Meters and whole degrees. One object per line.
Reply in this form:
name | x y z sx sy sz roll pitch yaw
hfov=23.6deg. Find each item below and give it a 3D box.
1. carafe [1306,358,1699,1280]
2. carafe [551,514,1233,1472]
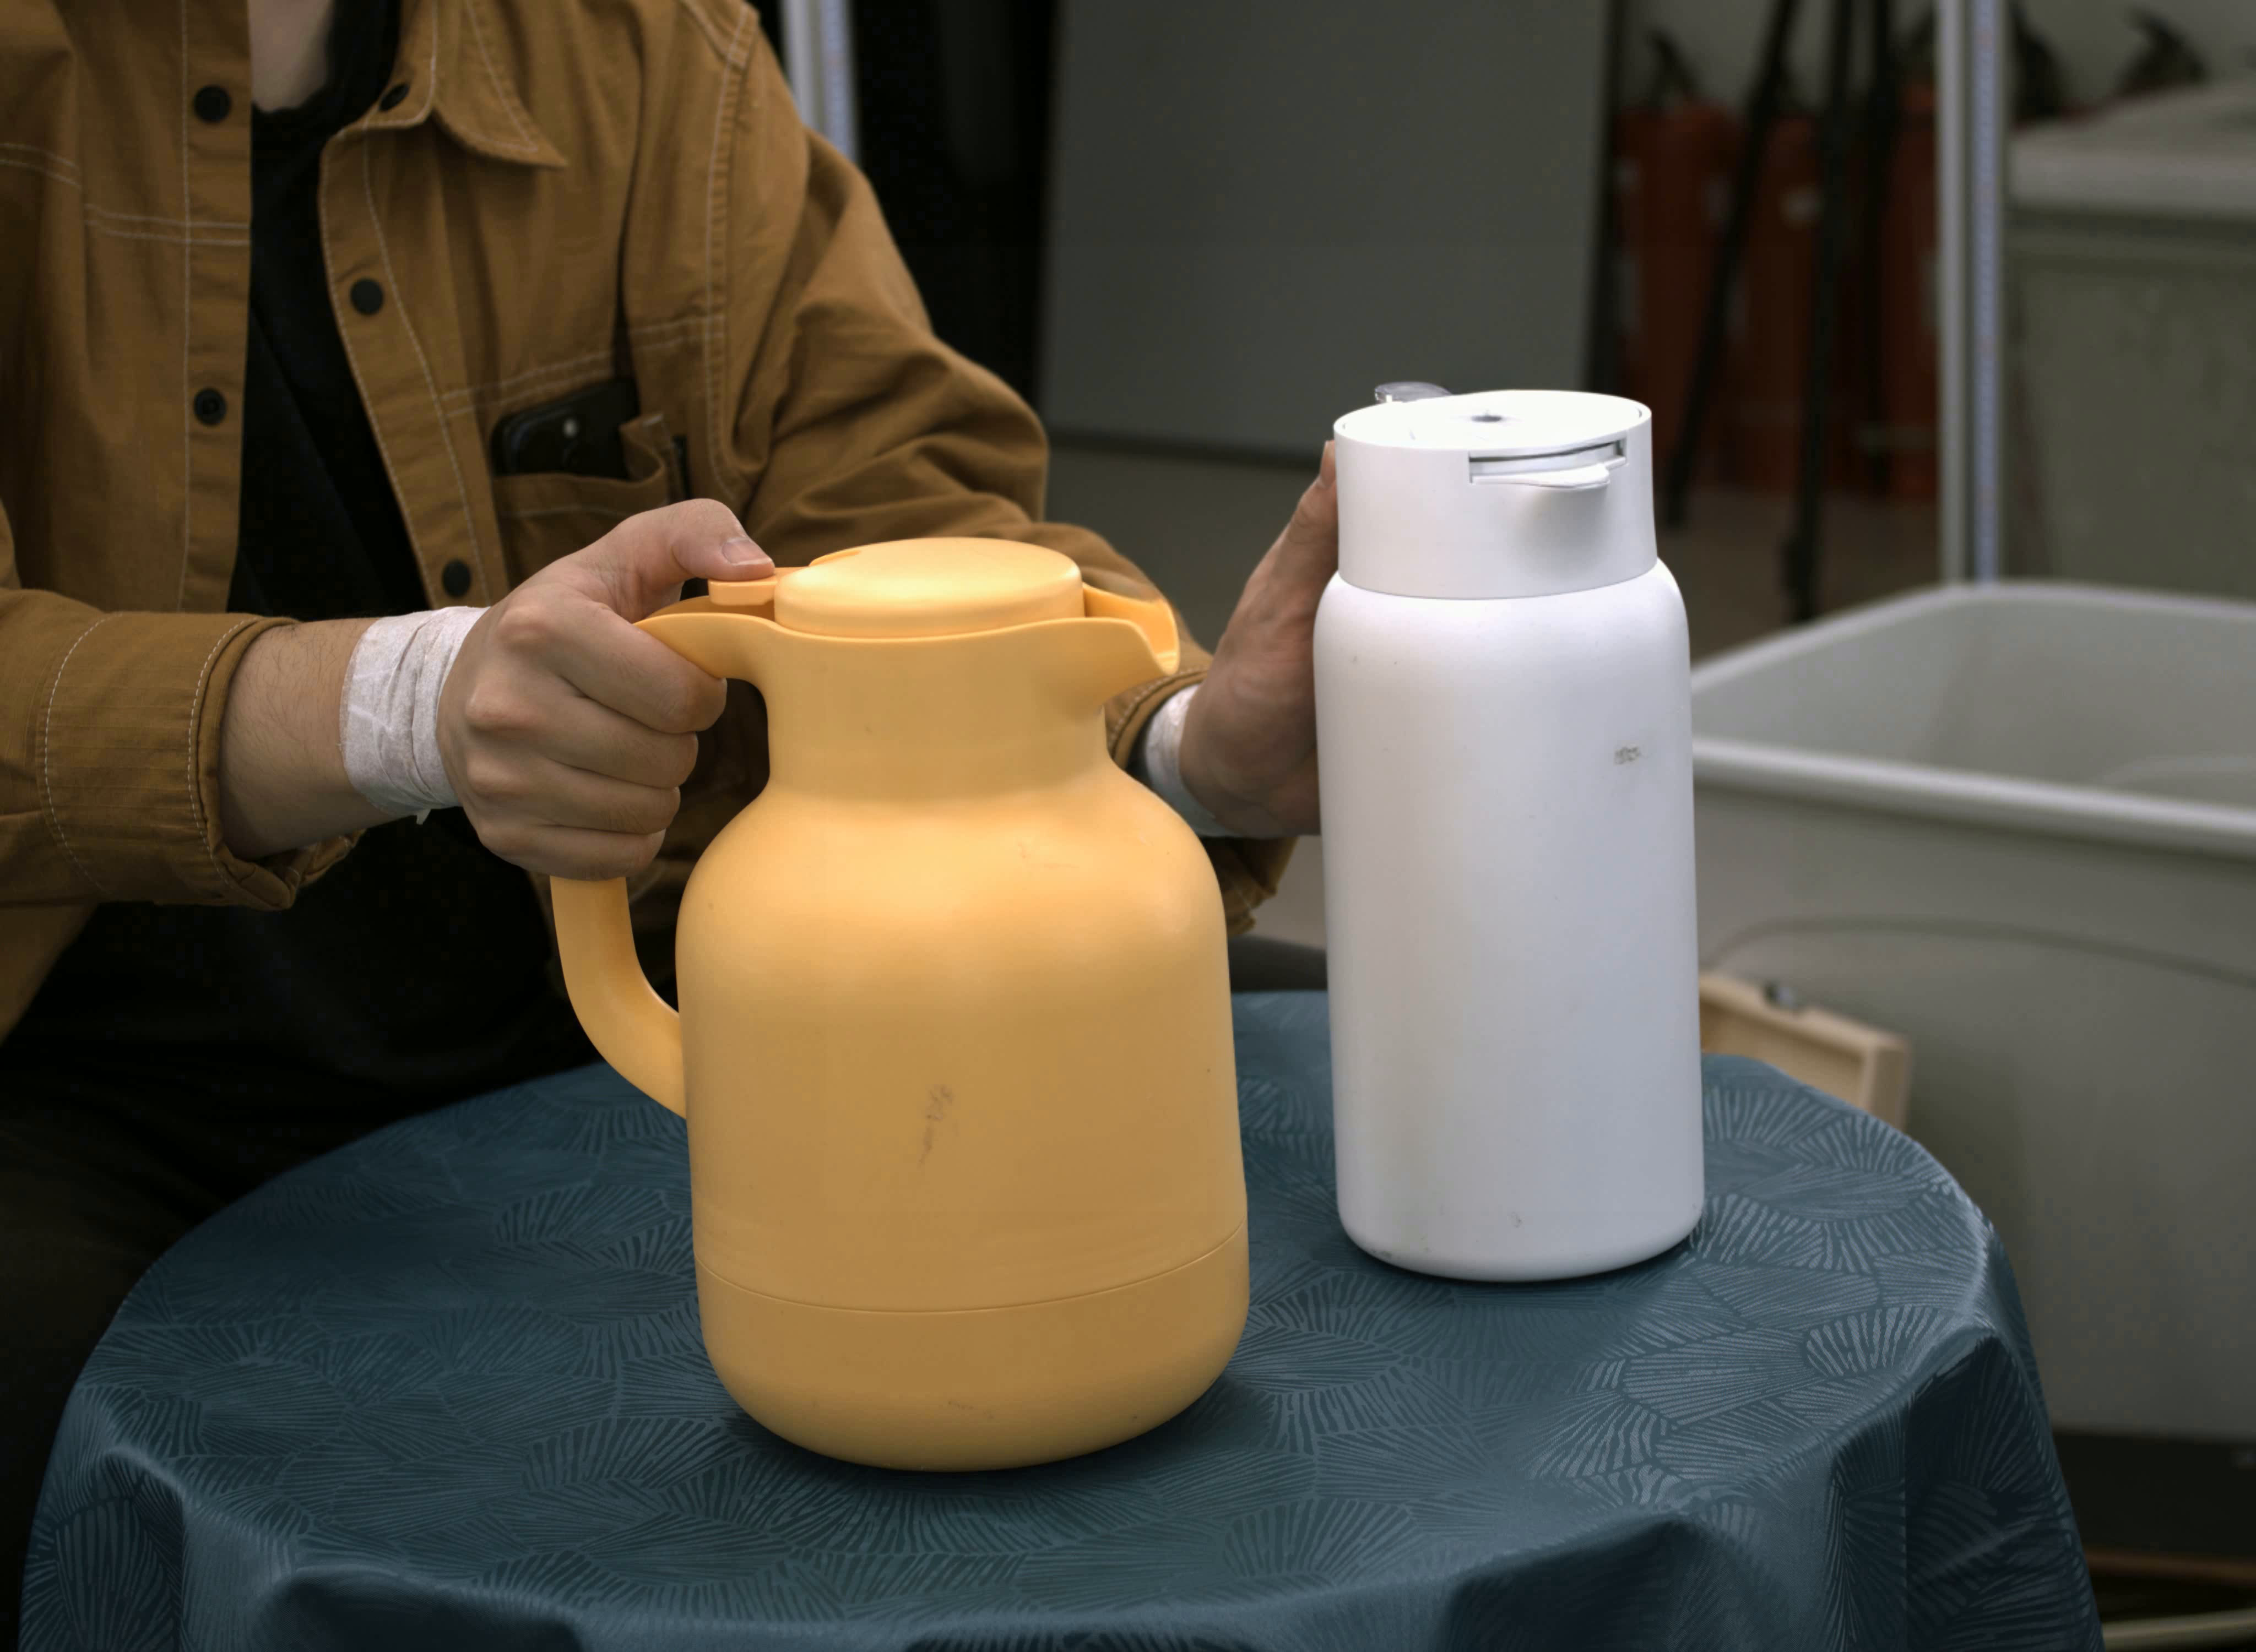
carafe | 0.108 -0.005 1.690 0.121 0.272 0.174 -11 15 -19
carafe | -0.069 0.043 1.563 0.202 0.263 0.161 3 12 23
